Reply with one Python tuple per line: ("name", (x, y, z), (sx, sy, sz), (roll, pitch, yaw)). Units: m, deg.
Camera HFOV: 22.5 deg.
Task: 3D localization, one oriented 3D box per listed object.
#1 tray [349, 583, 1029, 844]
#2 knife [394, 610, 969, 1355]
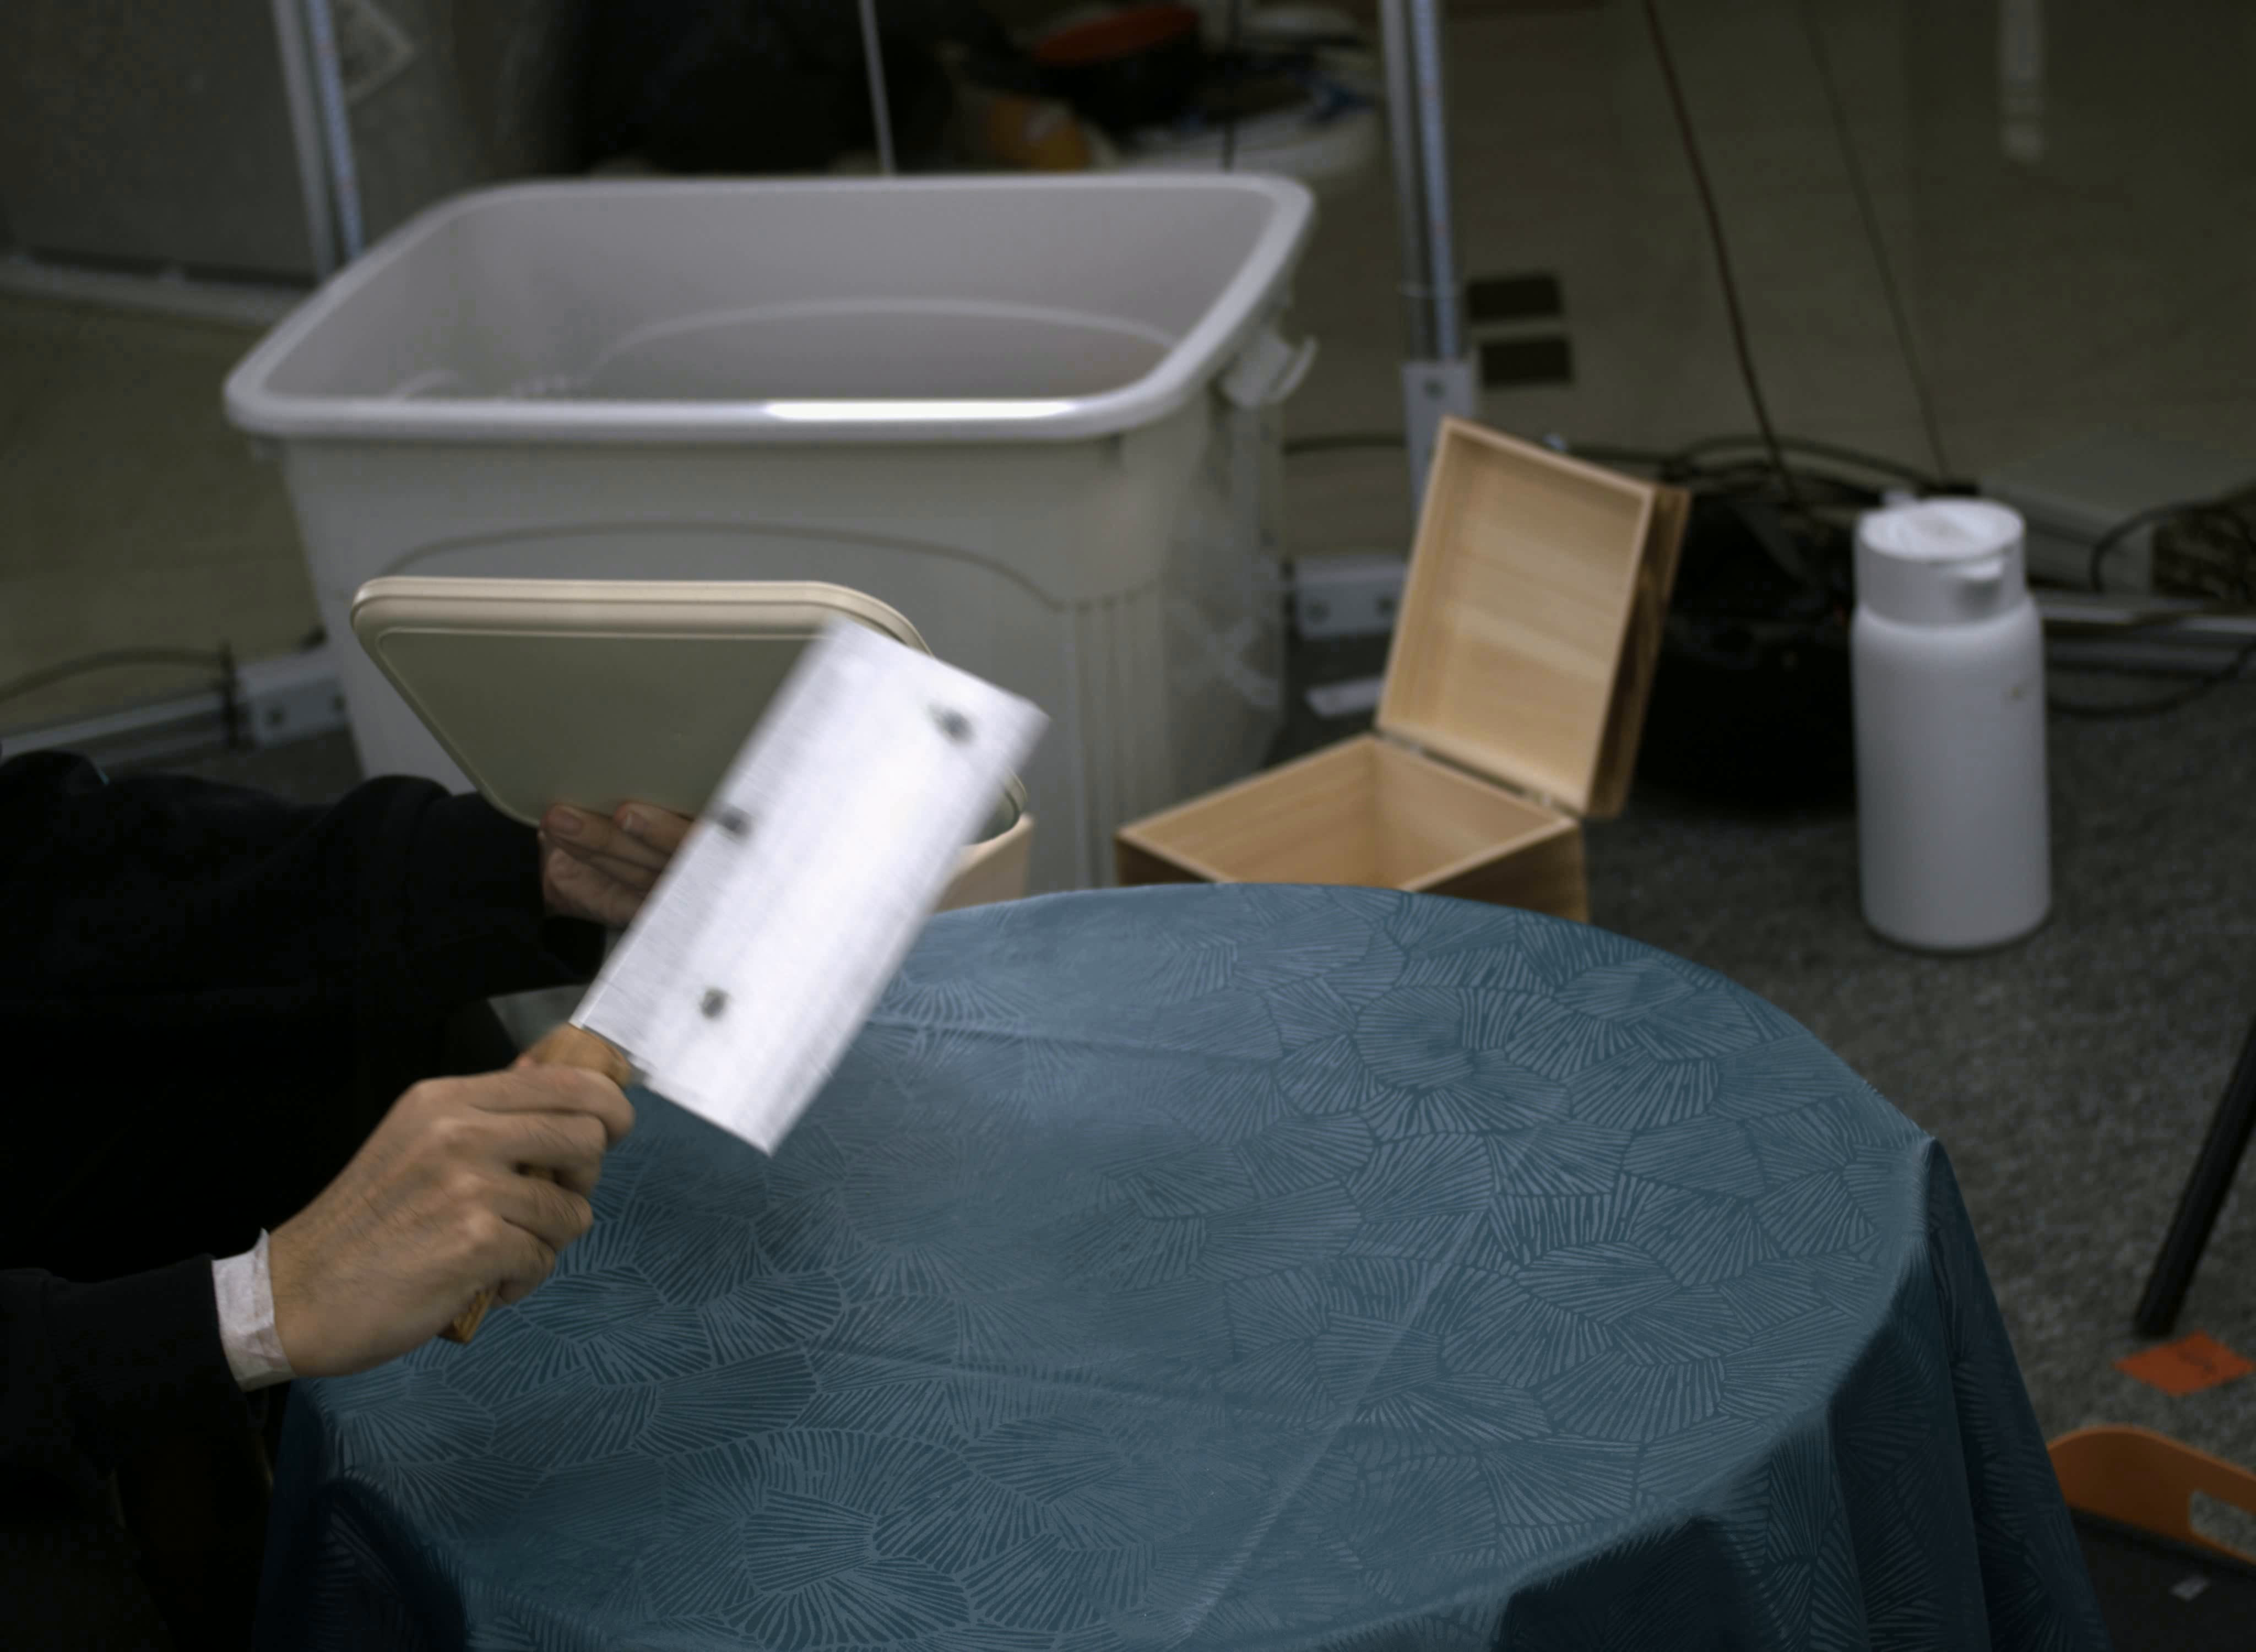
("tray", (-0.167, -0.040, 2.143), (0.239, 0.174, 0.017), (2, 61, 24))
("knife", (-0.149, 0.060, 1.984), (0.092, 0.021, 0.303), (24, 73, 18))
